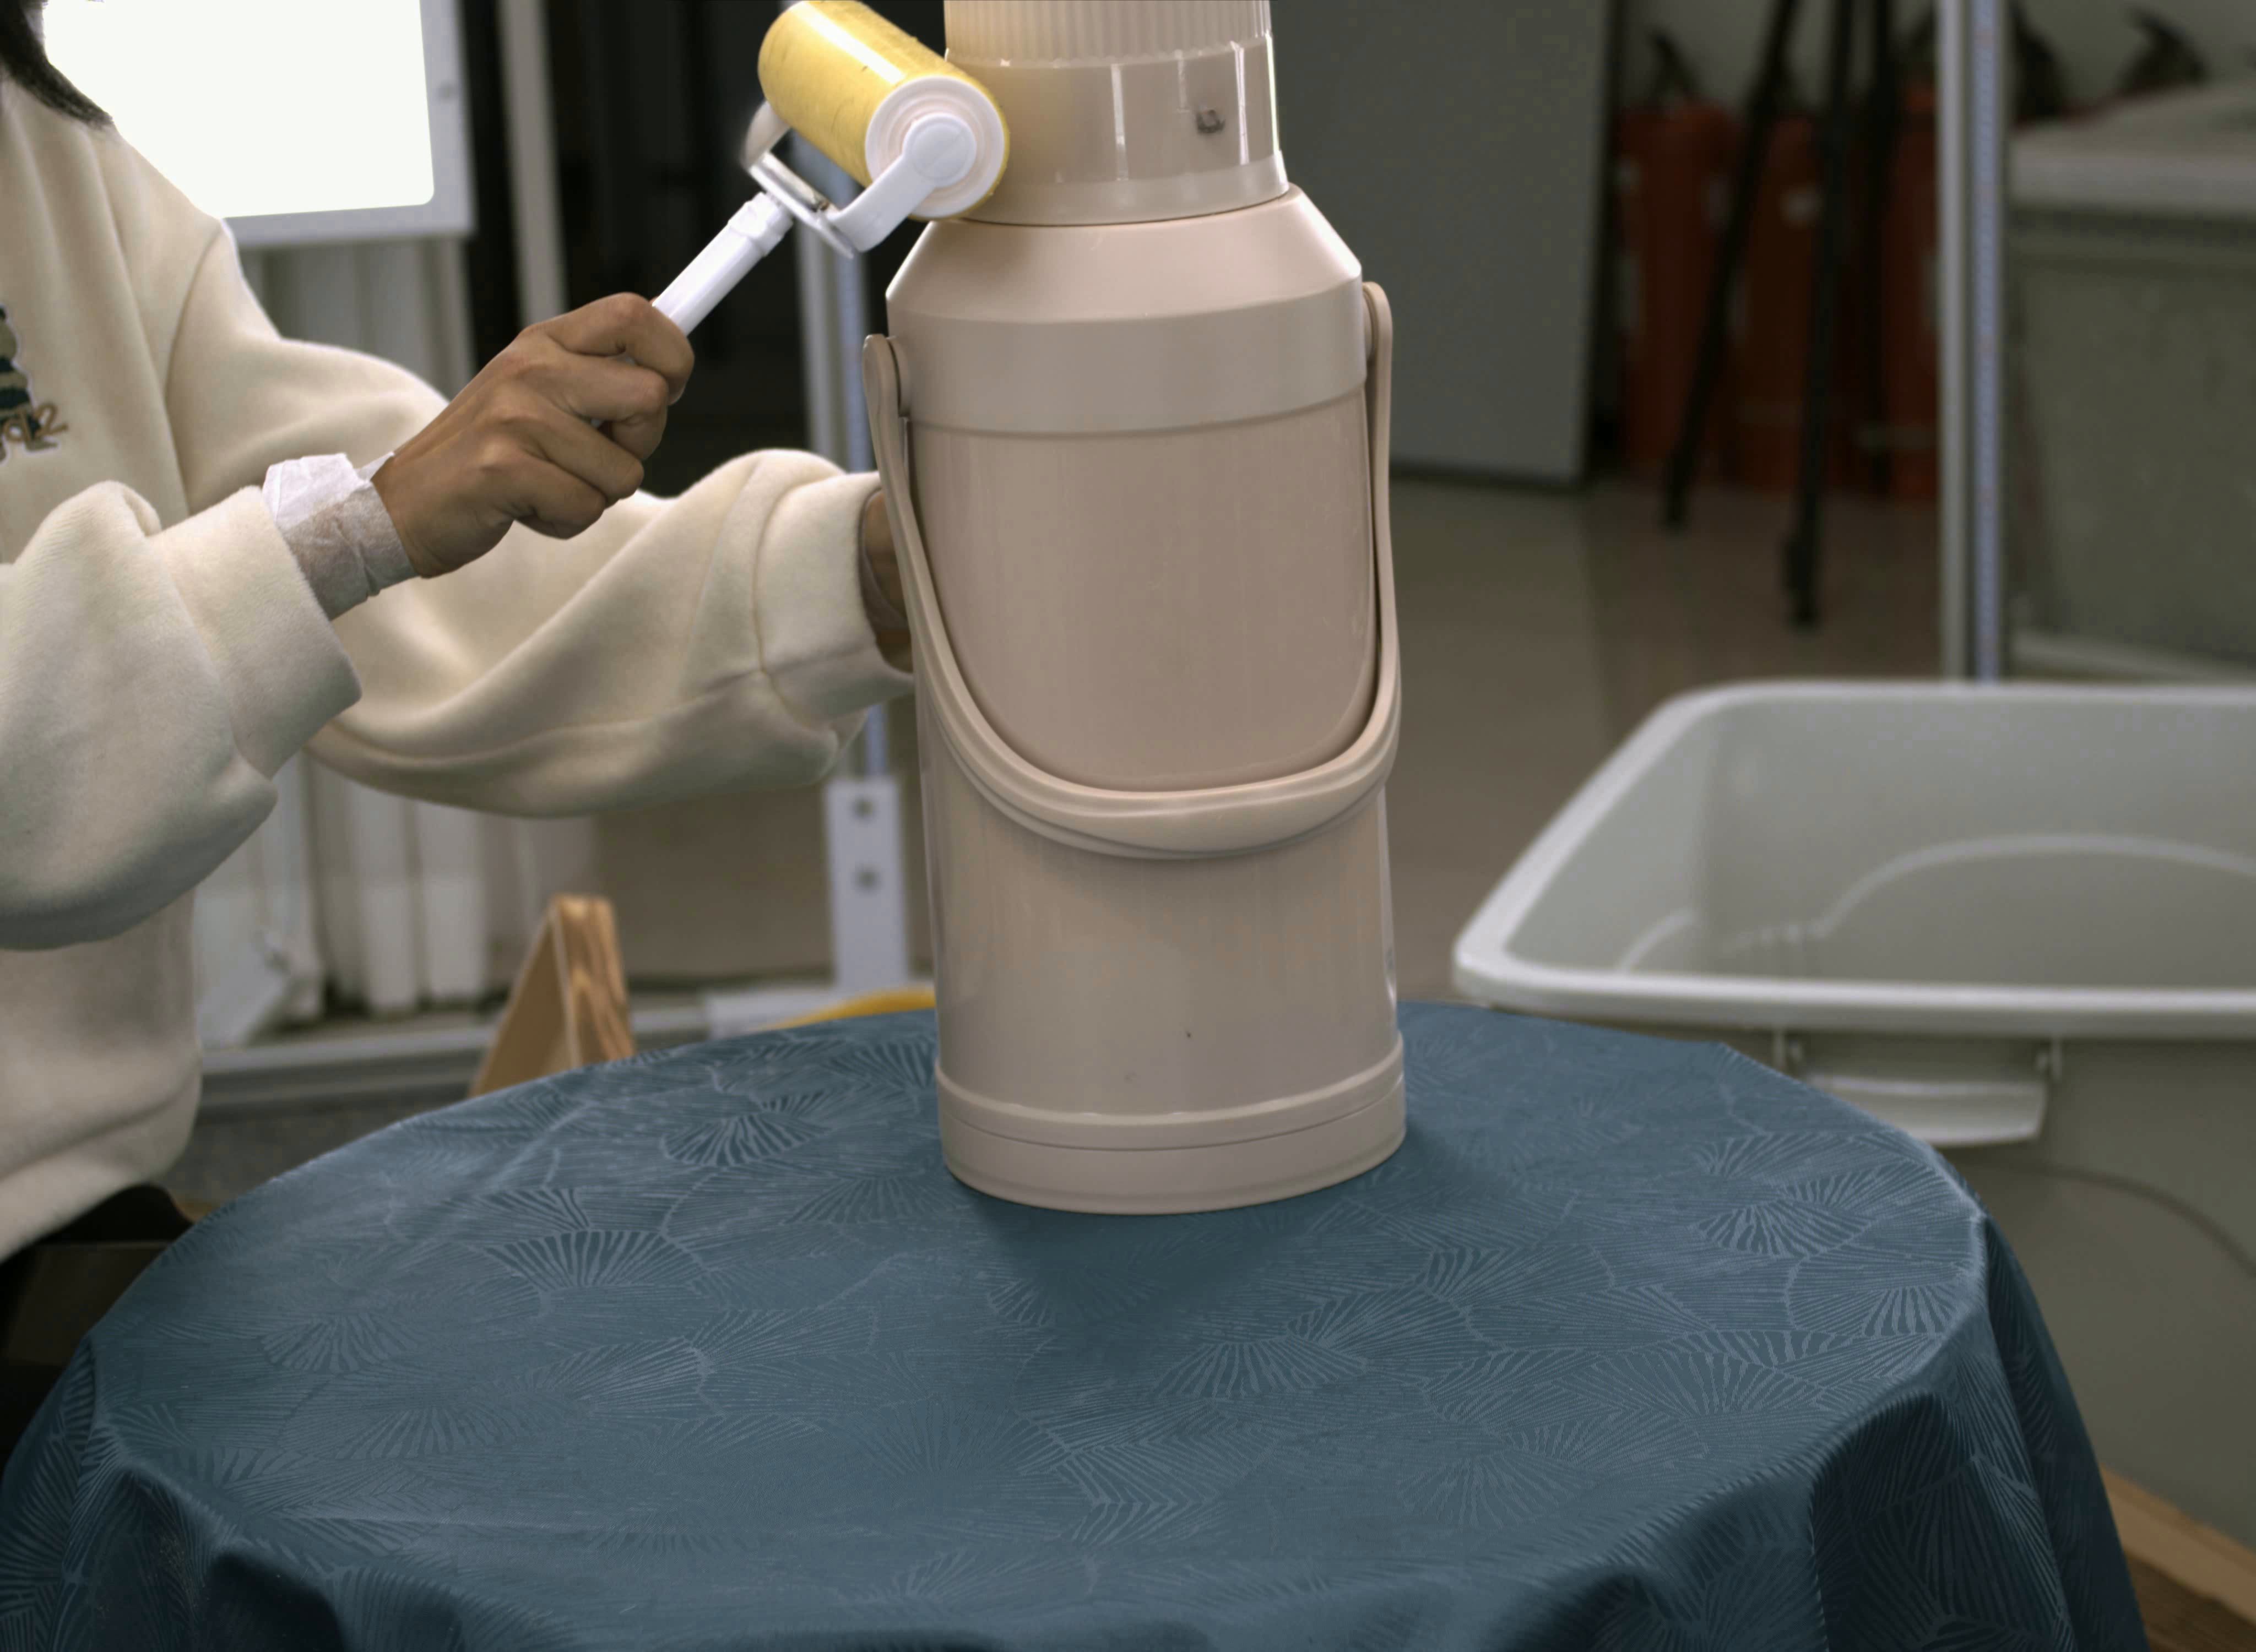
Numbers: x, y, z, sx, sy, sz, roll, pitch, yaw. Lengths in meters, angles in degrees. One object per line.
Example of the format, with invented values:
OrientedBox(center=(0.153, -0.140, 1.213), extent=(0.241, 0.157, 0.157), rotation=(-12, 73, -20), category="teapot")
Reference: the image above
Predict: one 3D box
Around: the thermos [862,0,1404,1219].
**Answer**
OrientedBox(center=(0.001, -0.089, 1.786), extent=(0.172, 0.411, 0.208), rotation=(-8, 14, -15), category="thermos")

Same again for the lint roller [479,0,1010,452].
OrientedBox(center=(-0.136, -0.193, 1.717), extent=(0.191, 0.051, 0.176), rotation=(-35, 21, -4), category="lint roller")
